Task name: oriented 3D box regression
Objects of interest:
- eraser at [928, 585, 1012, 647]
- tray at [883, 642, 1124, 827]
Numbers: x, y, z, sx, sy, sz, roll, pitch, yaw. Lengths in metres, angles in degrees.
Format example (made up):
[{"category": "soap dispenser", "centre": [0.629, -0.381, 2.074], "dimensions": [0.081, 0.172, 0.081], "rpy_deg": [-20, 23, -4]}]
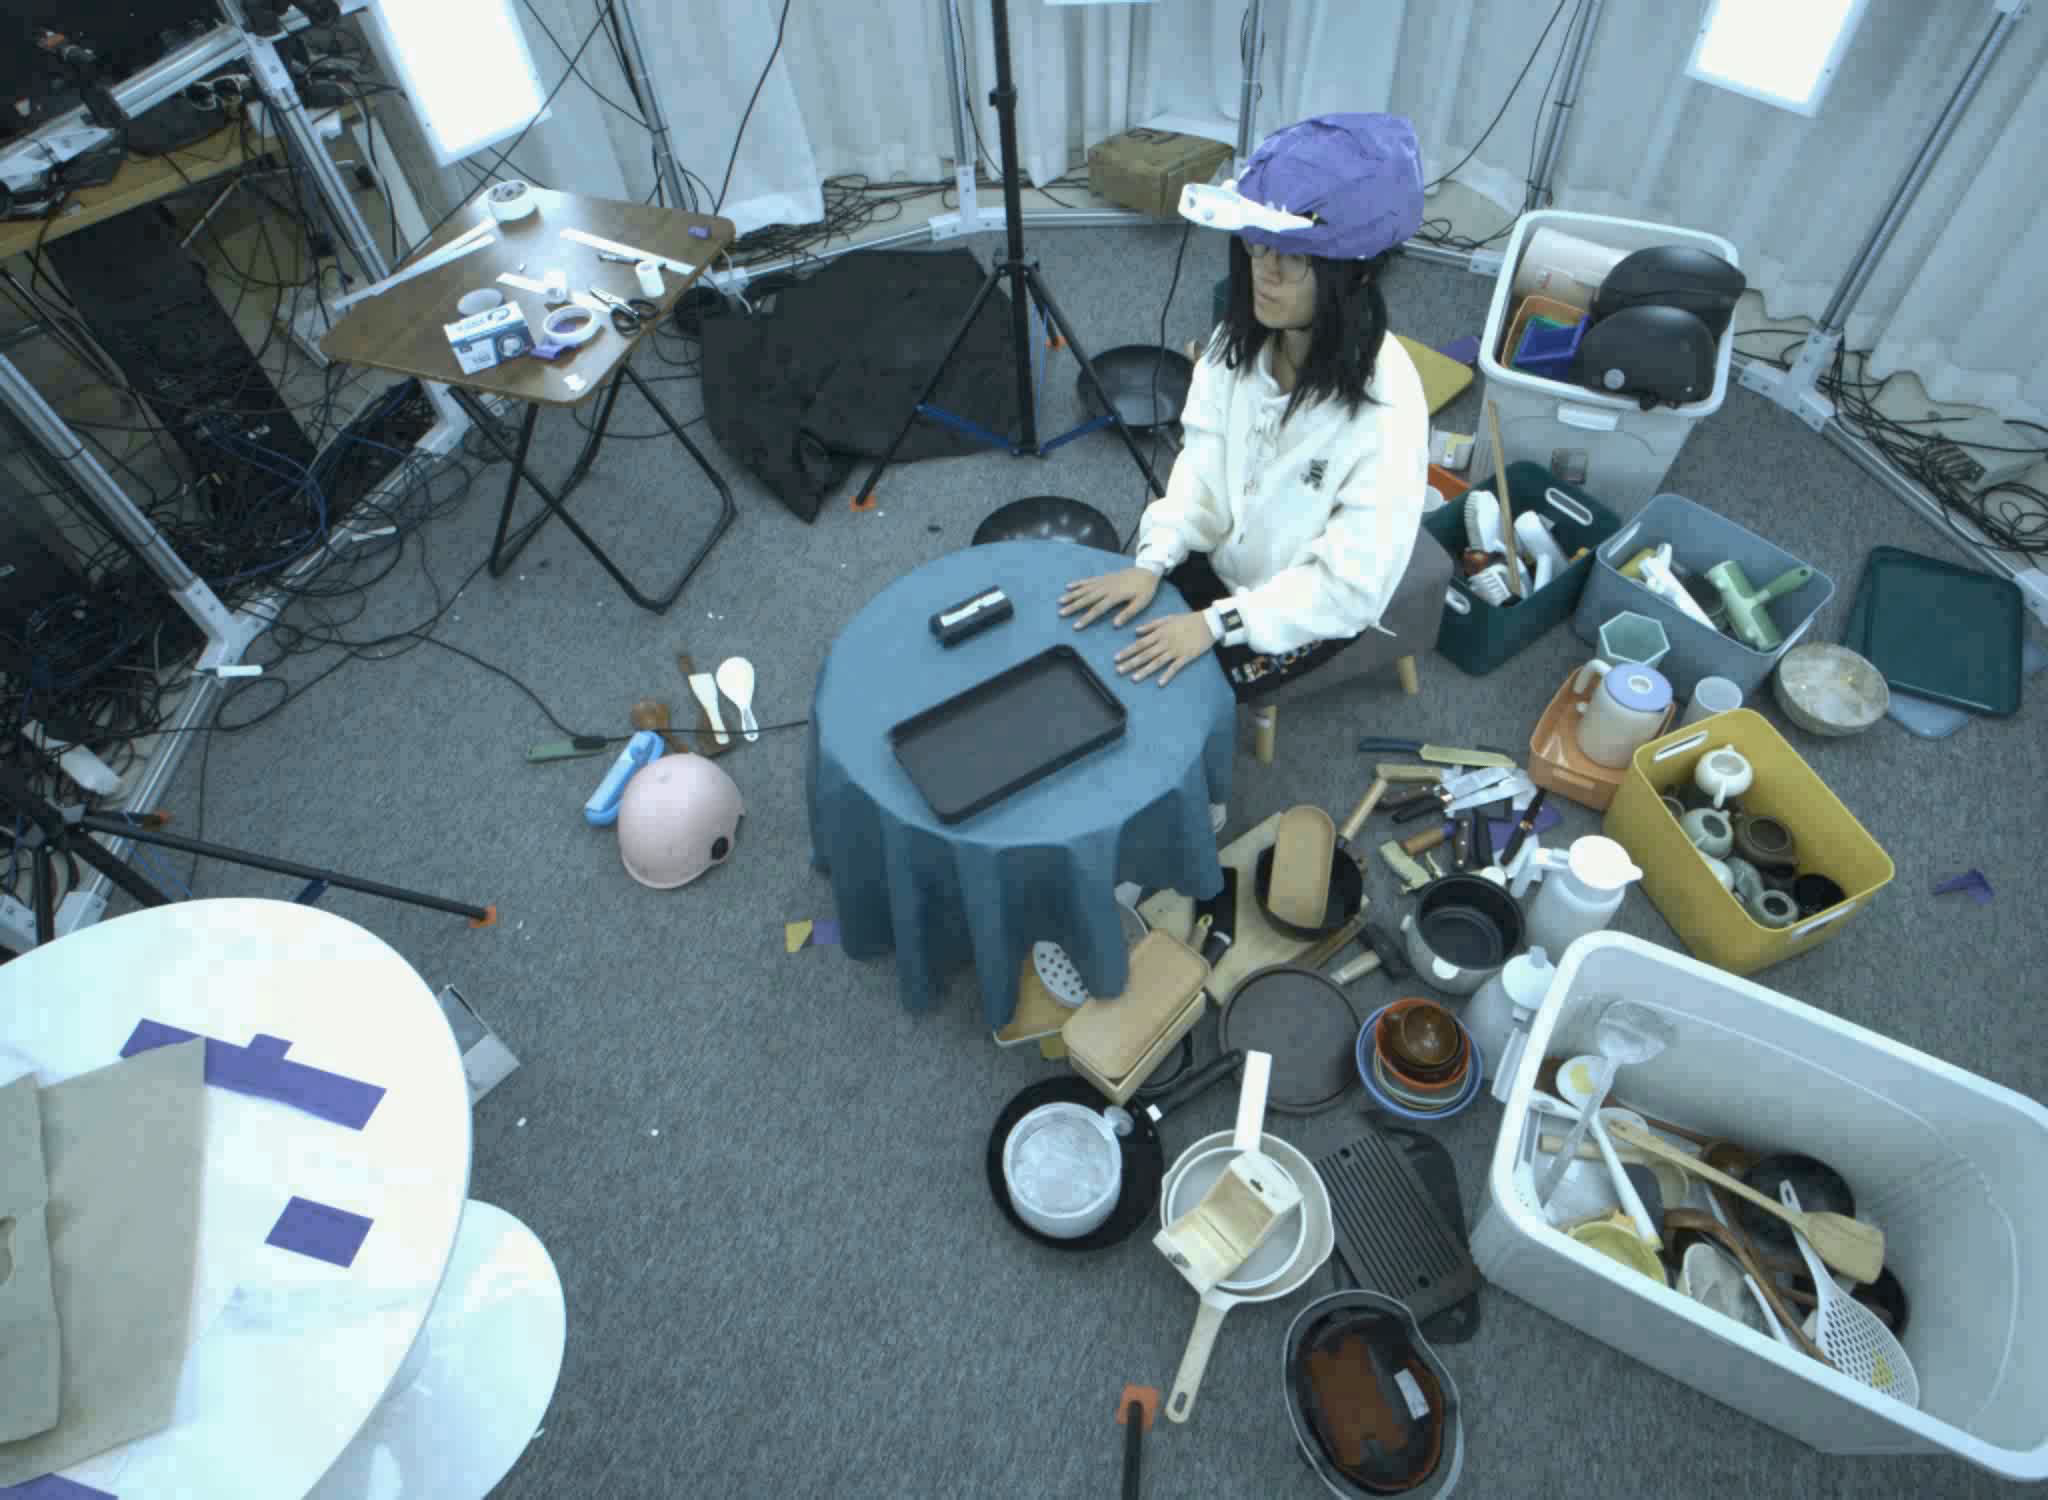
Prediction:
[{"category": "eraser", "centre": [-0.084, -0.211, 1.923], "dimensions": [0.126, 0.031, 0.052], "rpy_deg": [-28, 63, -17]}, {"category": "tray", "centre": [-0.028, -0.027, 1.785], "dimensions": [0.320, 0.037, 0.181], "rpy_deg": [-29, 59, -18]}]
